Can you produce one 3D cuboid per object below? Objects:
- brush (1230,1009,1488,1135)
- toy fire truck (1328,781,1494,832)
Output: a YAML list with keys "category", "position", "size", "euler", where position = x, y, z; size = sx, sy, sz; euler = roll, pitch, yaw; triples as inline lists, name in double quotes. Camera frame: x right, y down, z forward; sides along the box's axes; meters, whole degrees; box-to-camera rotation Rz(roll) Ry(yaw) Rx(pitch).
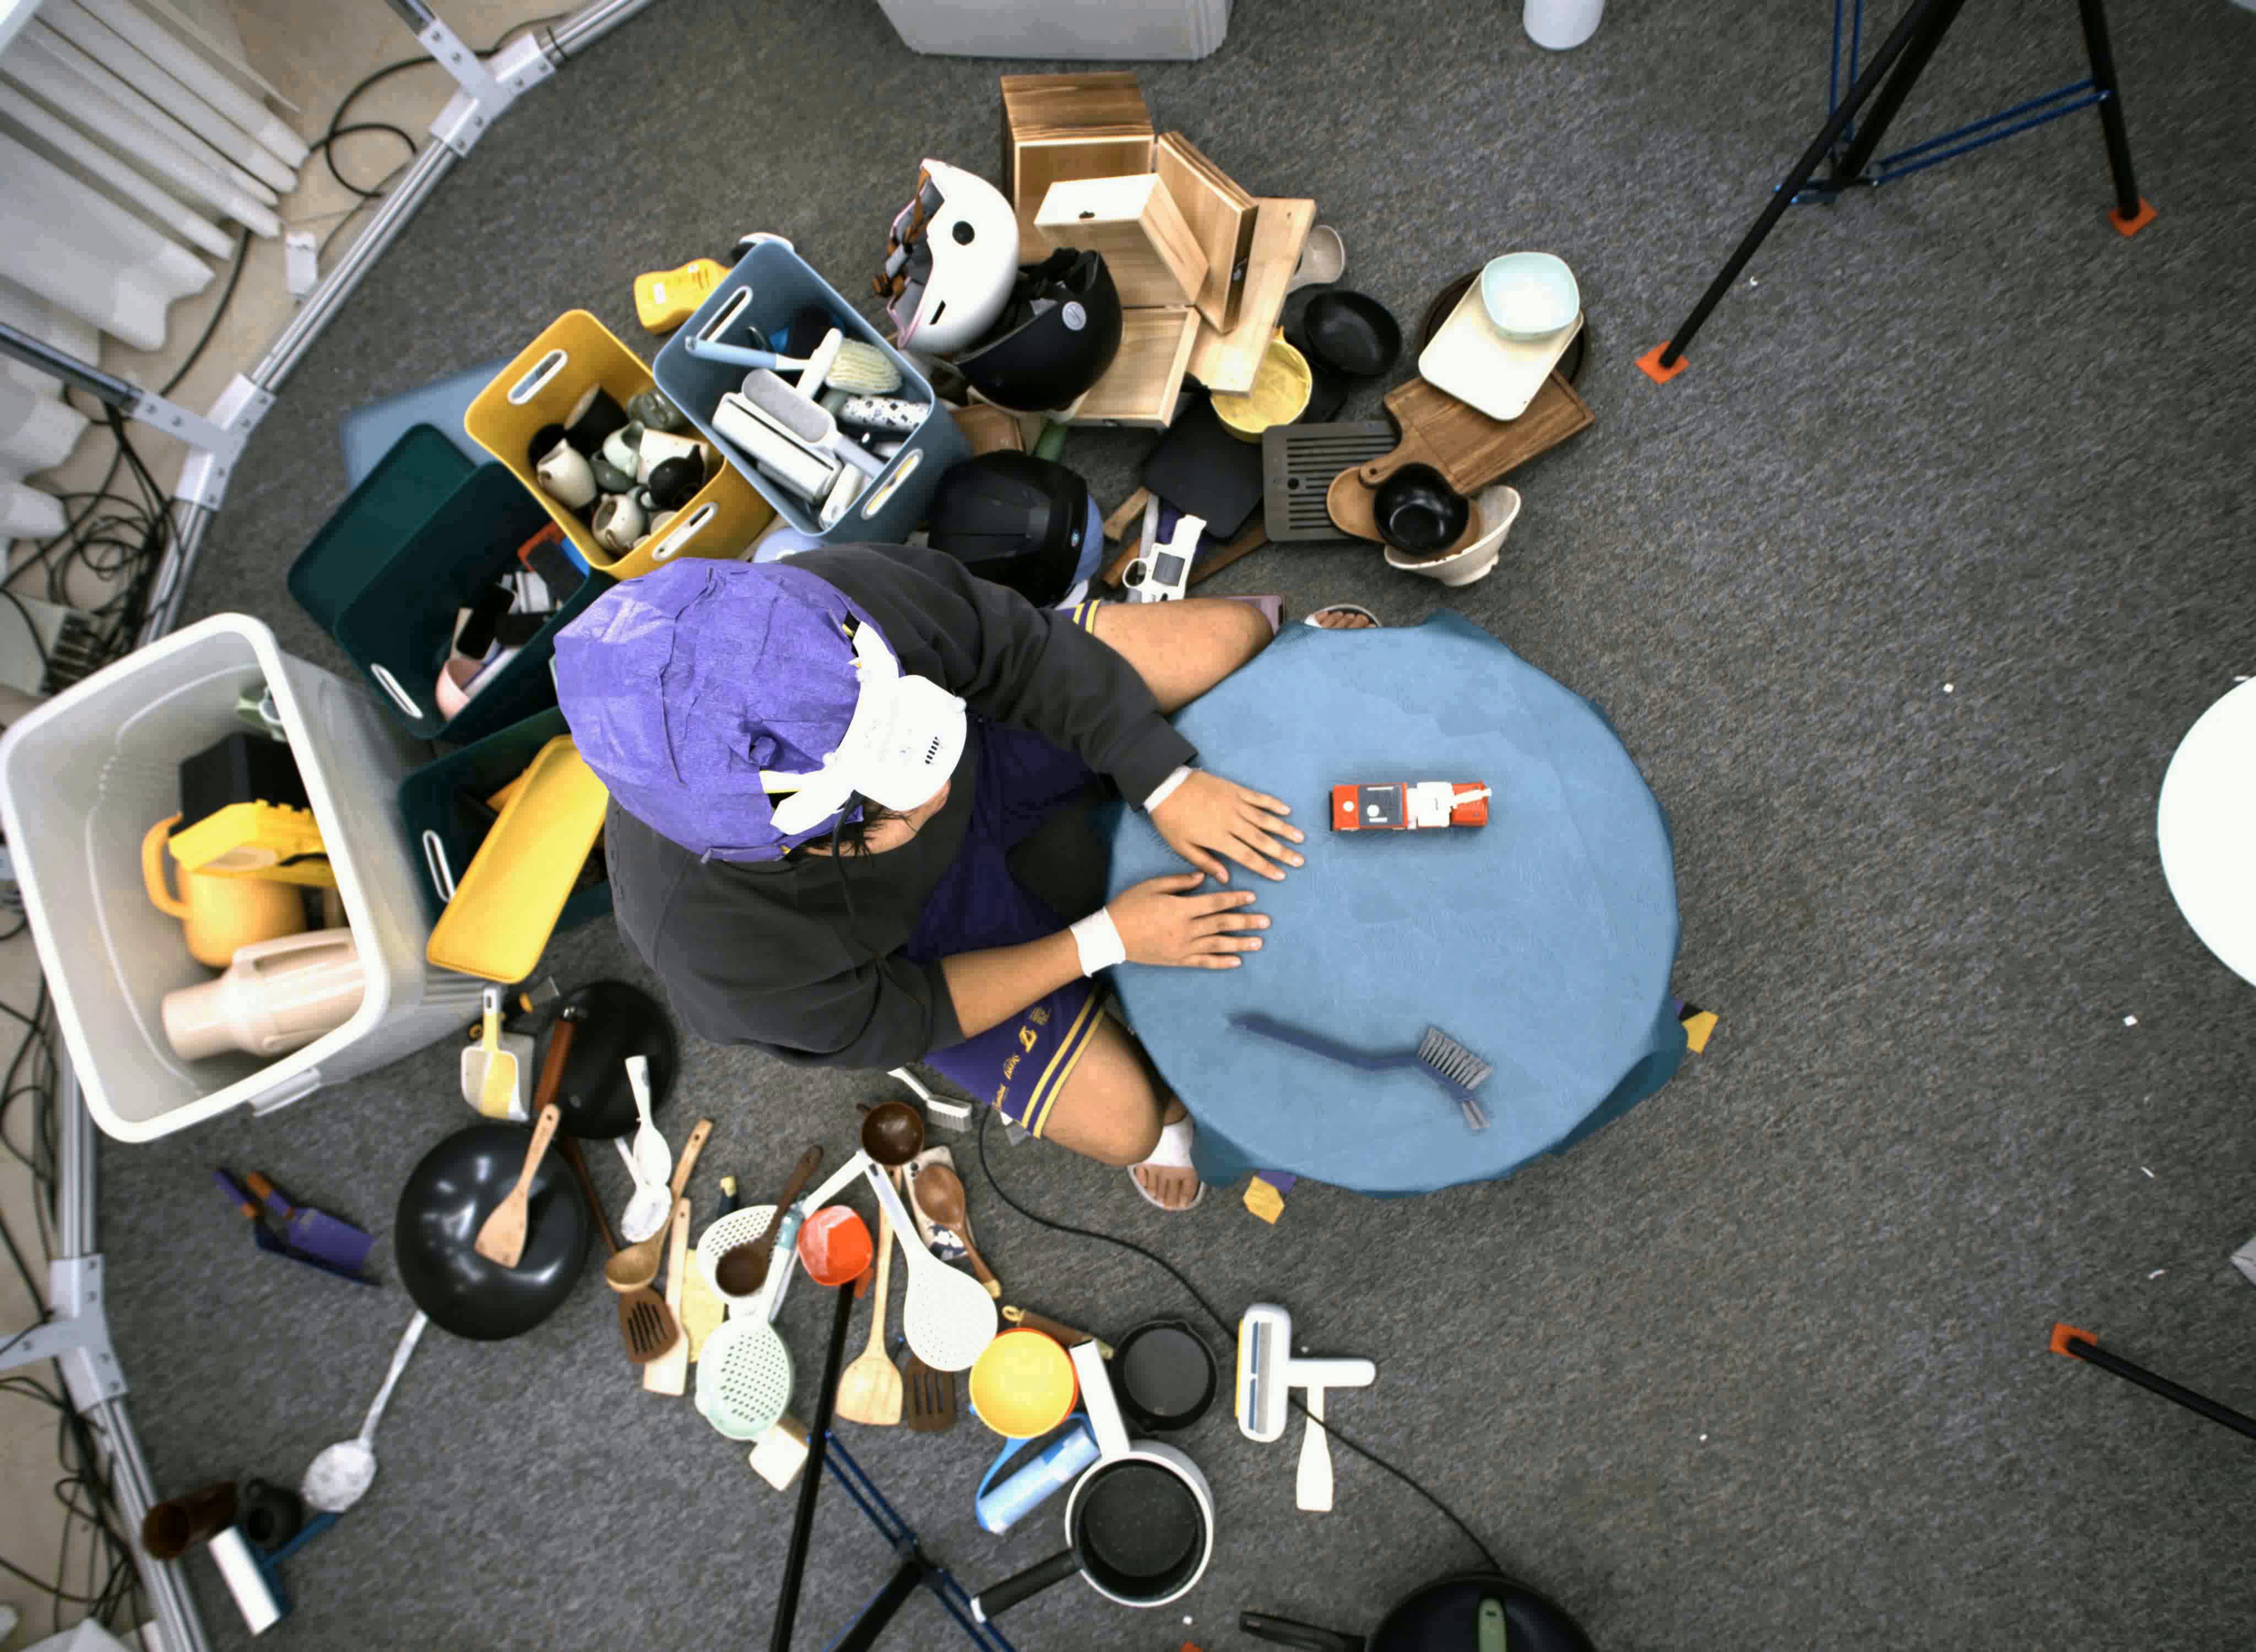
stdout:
- category: "brush"
  position: [0.236, 0.248, 1.440]
  size: [0.274, 0.033, 0.095]
  euler: [10, 90, 10]
- category: "toy fire truck"
  position: [0.292, -0.023, 1.430]
  size: [0.168, 0.070, 0.054]
  euler: [-3, 85, 11]
